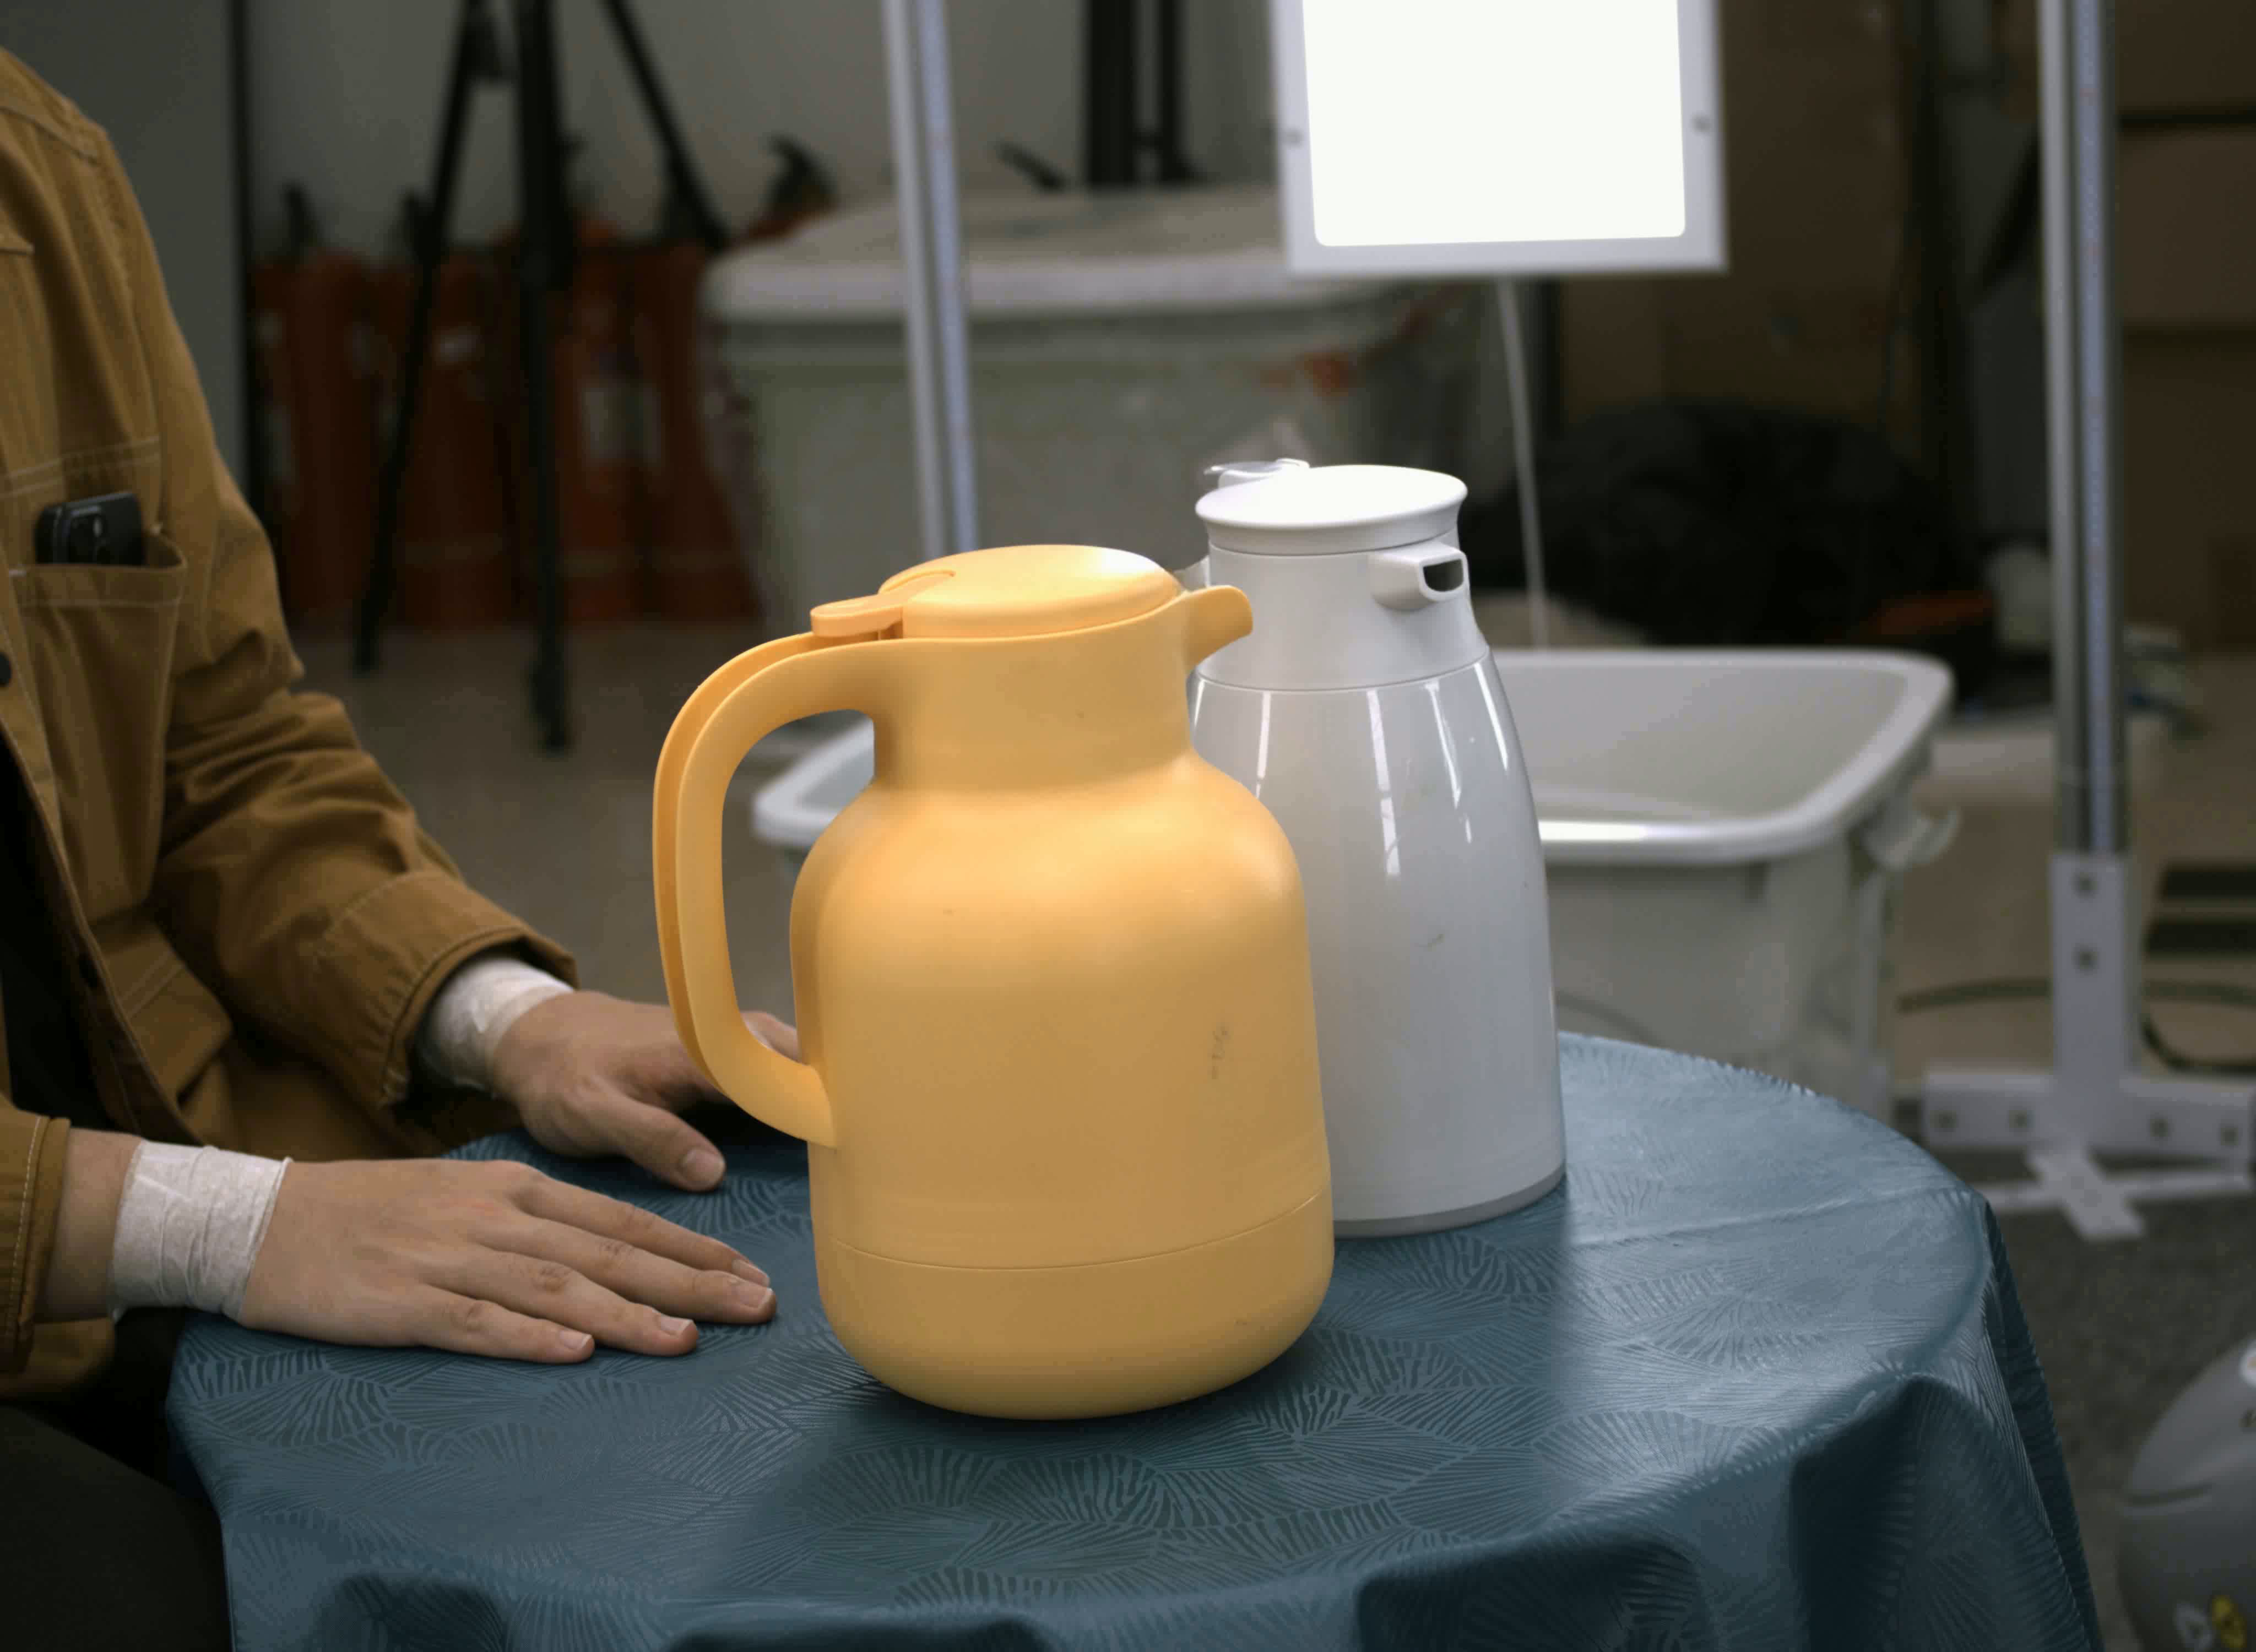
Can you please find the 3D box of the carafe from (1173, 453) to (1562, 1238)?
[{"bbox_3d":[0.064,-0.001,1.874,0.129,0.249,0.171,-13,16,-31],"label":"carafe"}]

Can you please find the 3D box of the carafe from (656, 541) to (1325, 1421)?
[{"bbox_3d":[-0.043,0.046,1.698,0.199,0.261,0.165,-8,12,-17],"label":"carafe"}]
